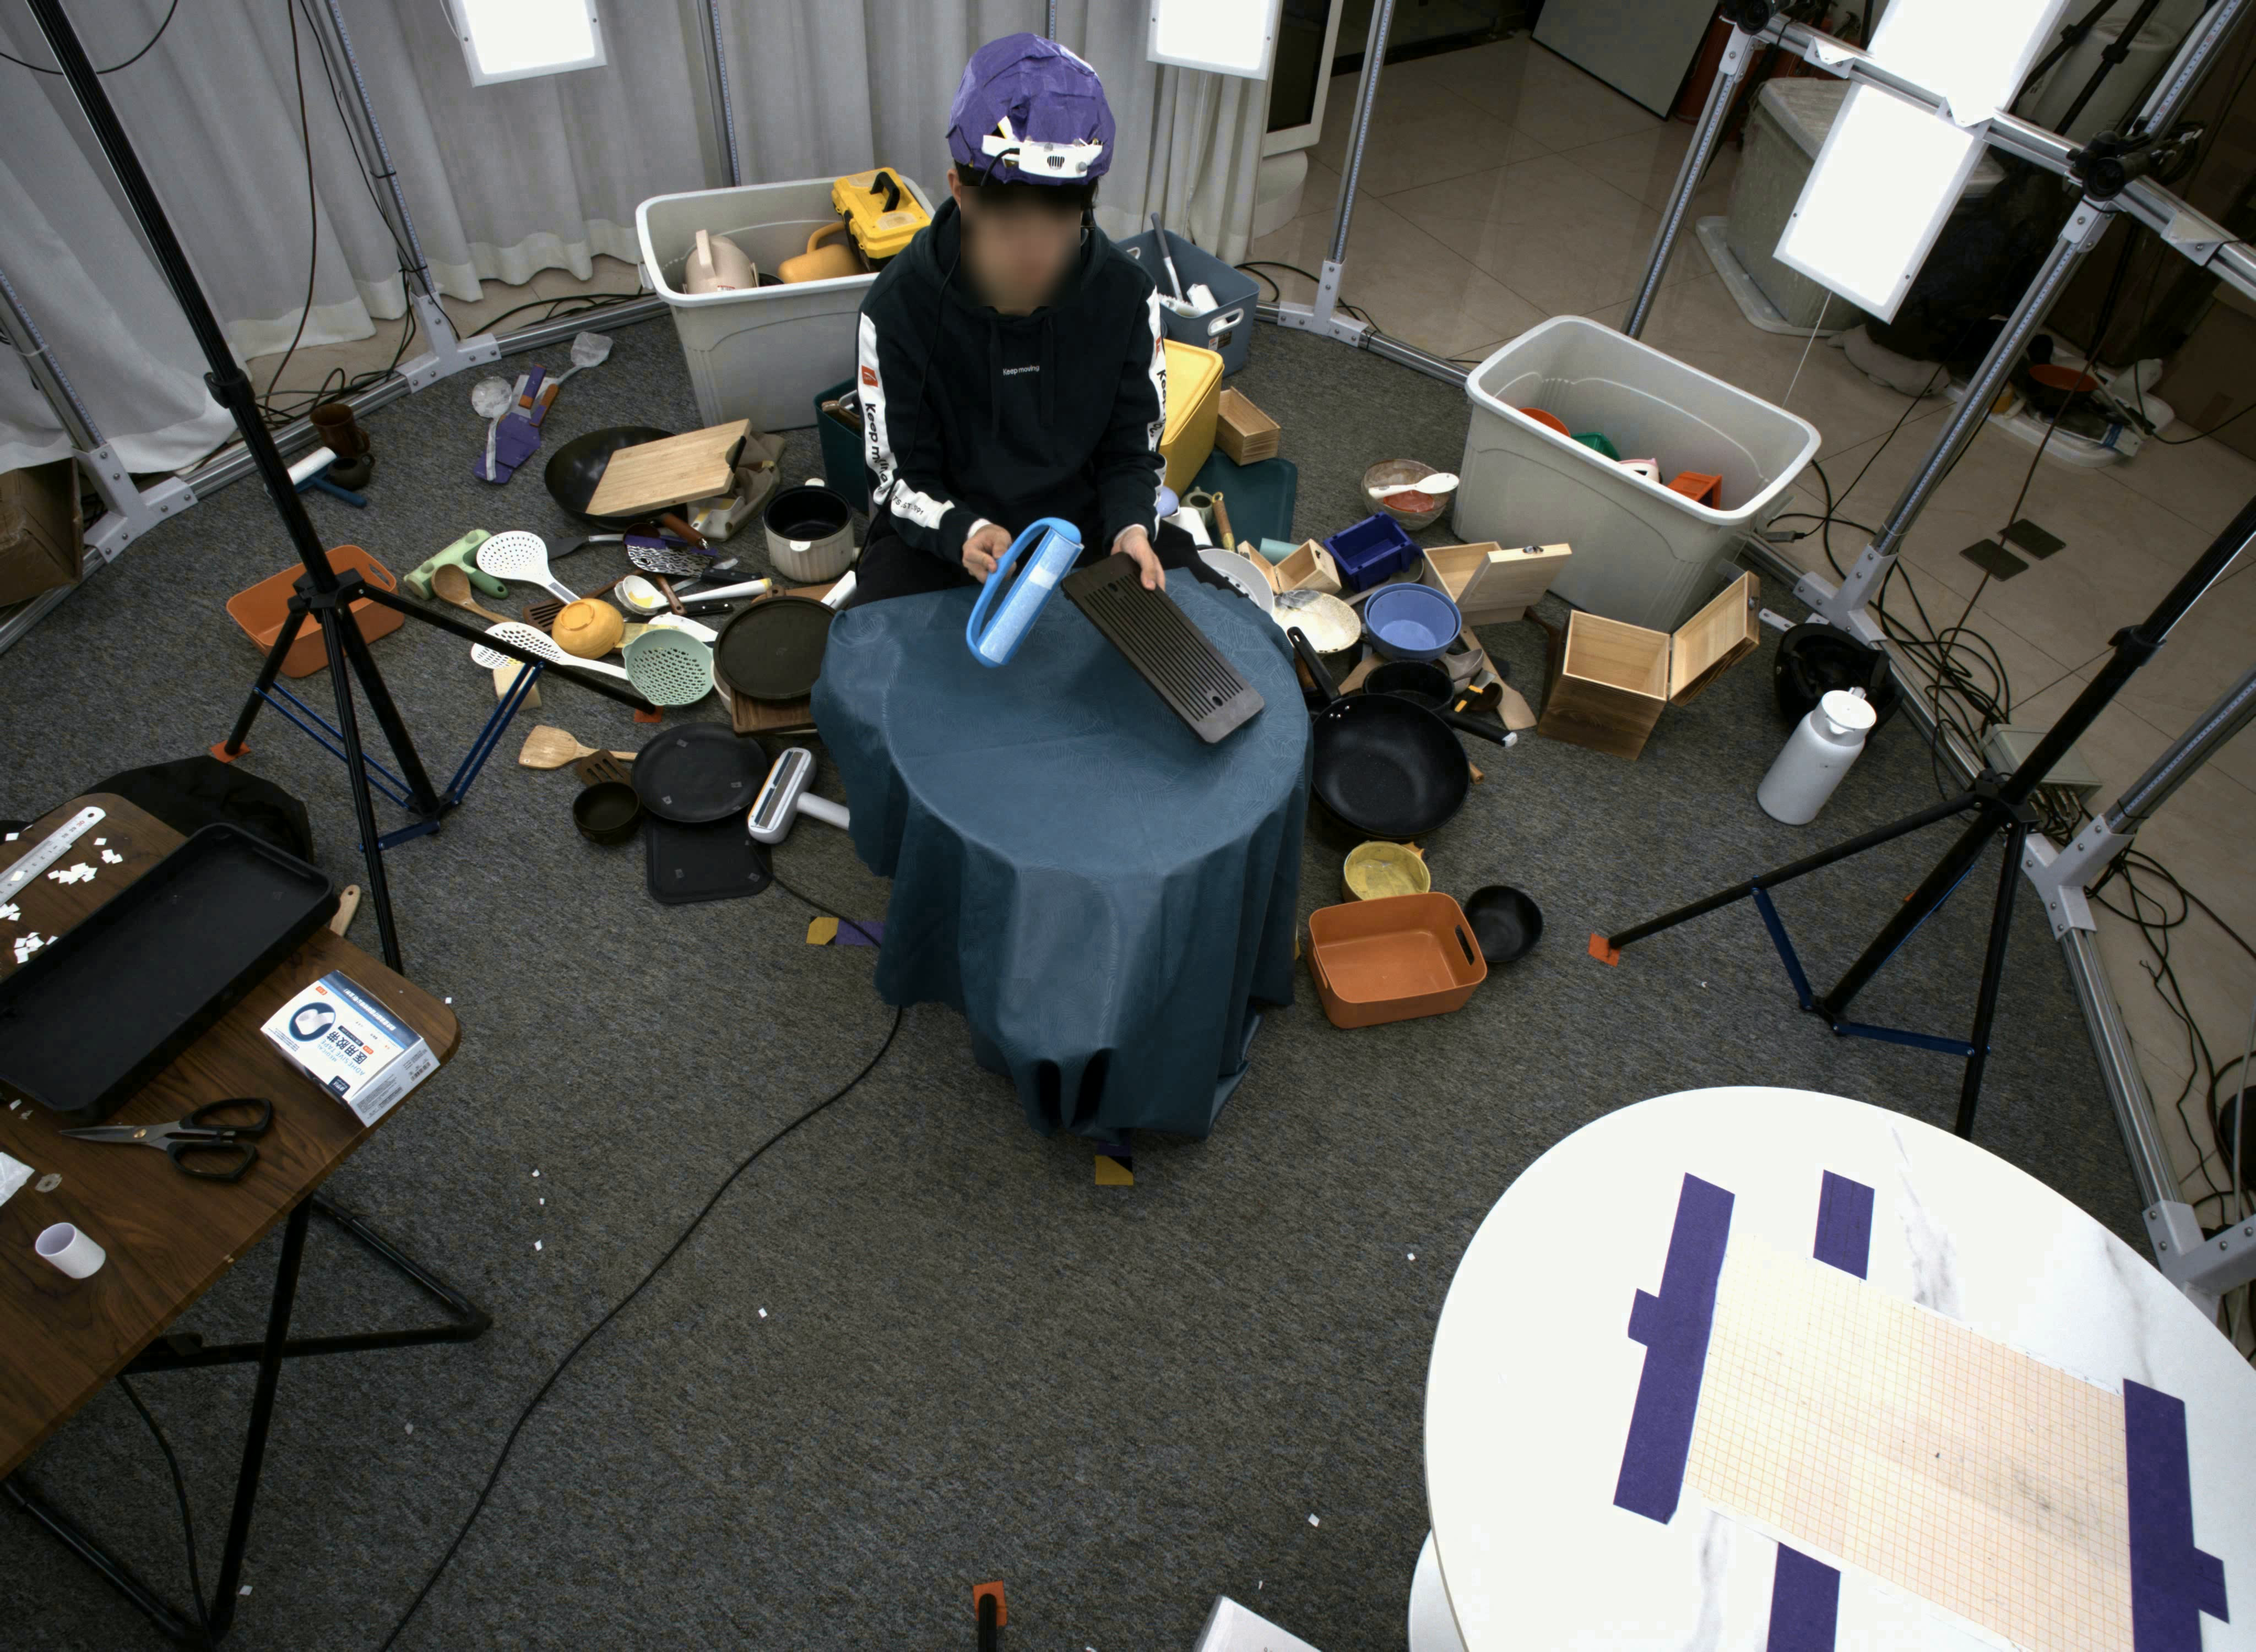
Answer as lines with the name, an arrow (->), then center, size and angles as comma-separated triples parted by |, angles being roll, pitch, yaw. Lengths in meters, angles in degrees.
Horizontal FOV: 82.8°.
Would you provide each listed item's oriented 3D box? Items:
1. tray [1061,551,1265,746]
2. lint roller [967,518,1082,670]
tray -> 0.050, -0.249, 1.784 | 0.307, 0.018, 0.172 | 48, 42, 6
lint roller -> -0.164, -0.343, 1.798 | 0.067, 0.227, 0.184 | 21, 17, -39
